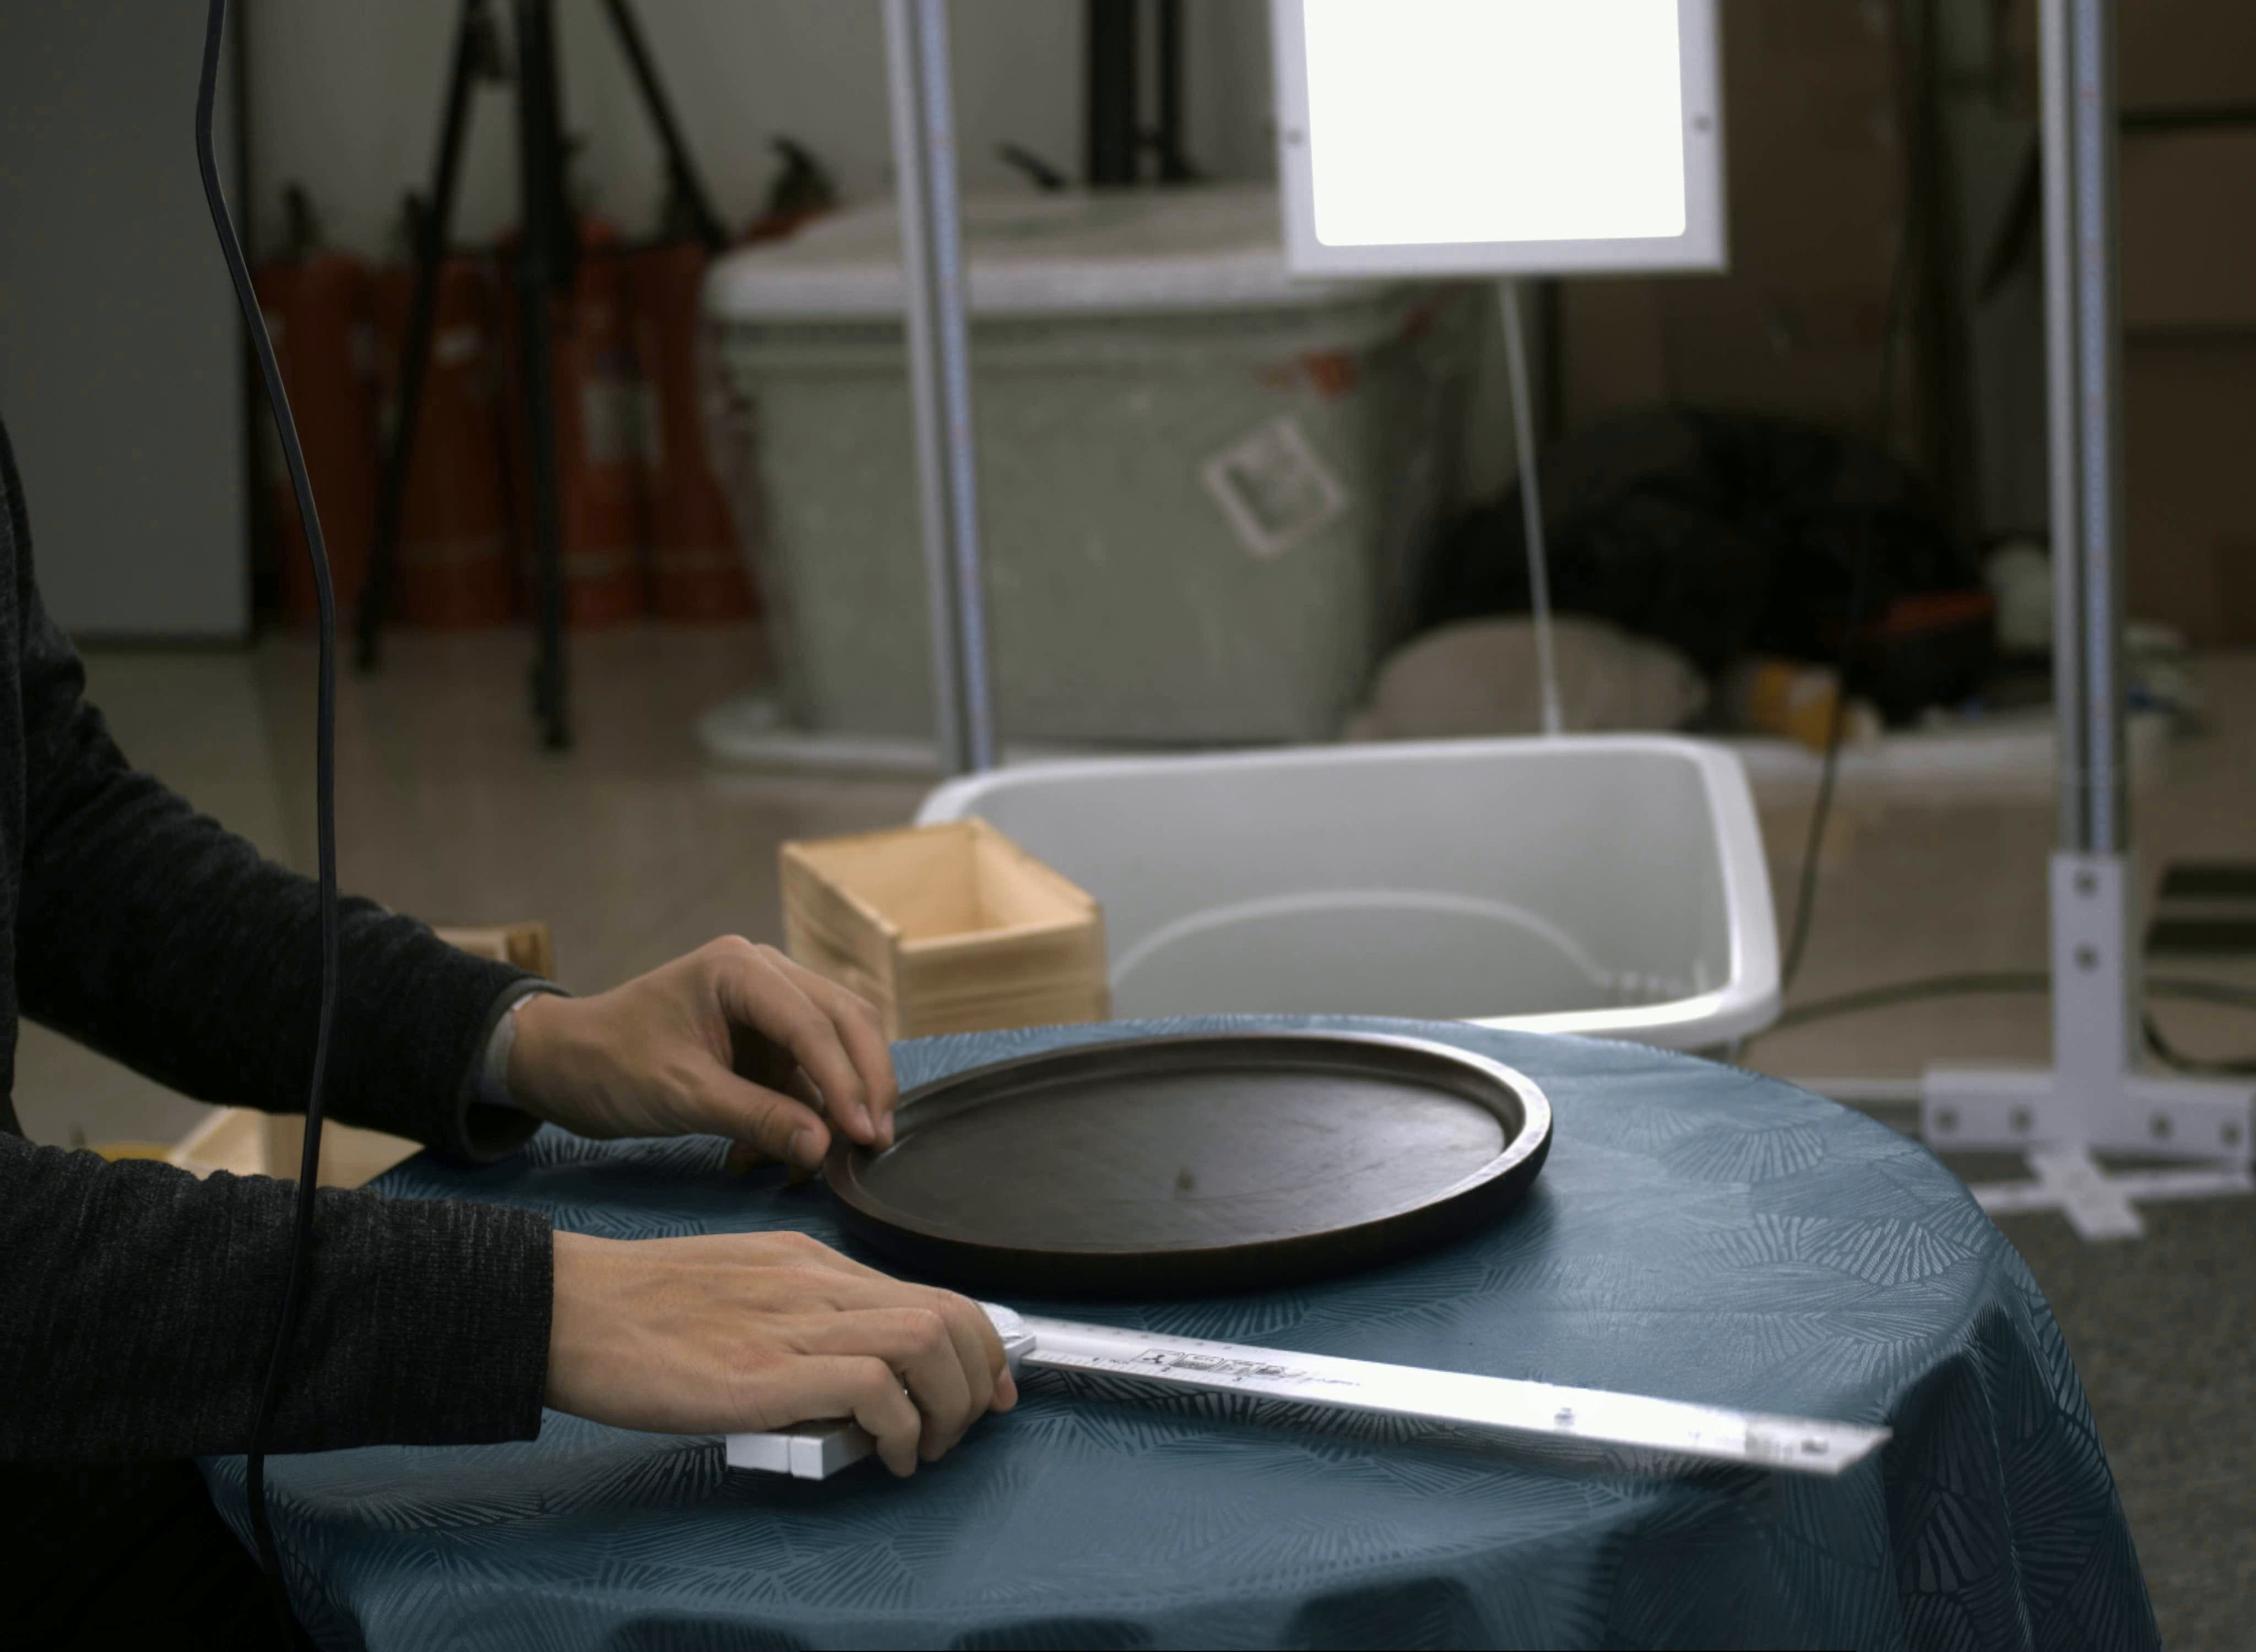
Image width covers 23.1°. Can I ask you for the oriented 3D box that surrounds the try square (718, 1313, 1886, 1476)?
[{"bbox_3d":[0.049,0.176,1.605,0.319,0.016,0.148,2,11,33],"label":"try square"}]

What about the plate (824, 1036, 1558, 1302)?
[{"bbox_3d":[0.022,0.115,1.889,0.254,0.029,0.254,-4,14,0],"label":"plate"}]
